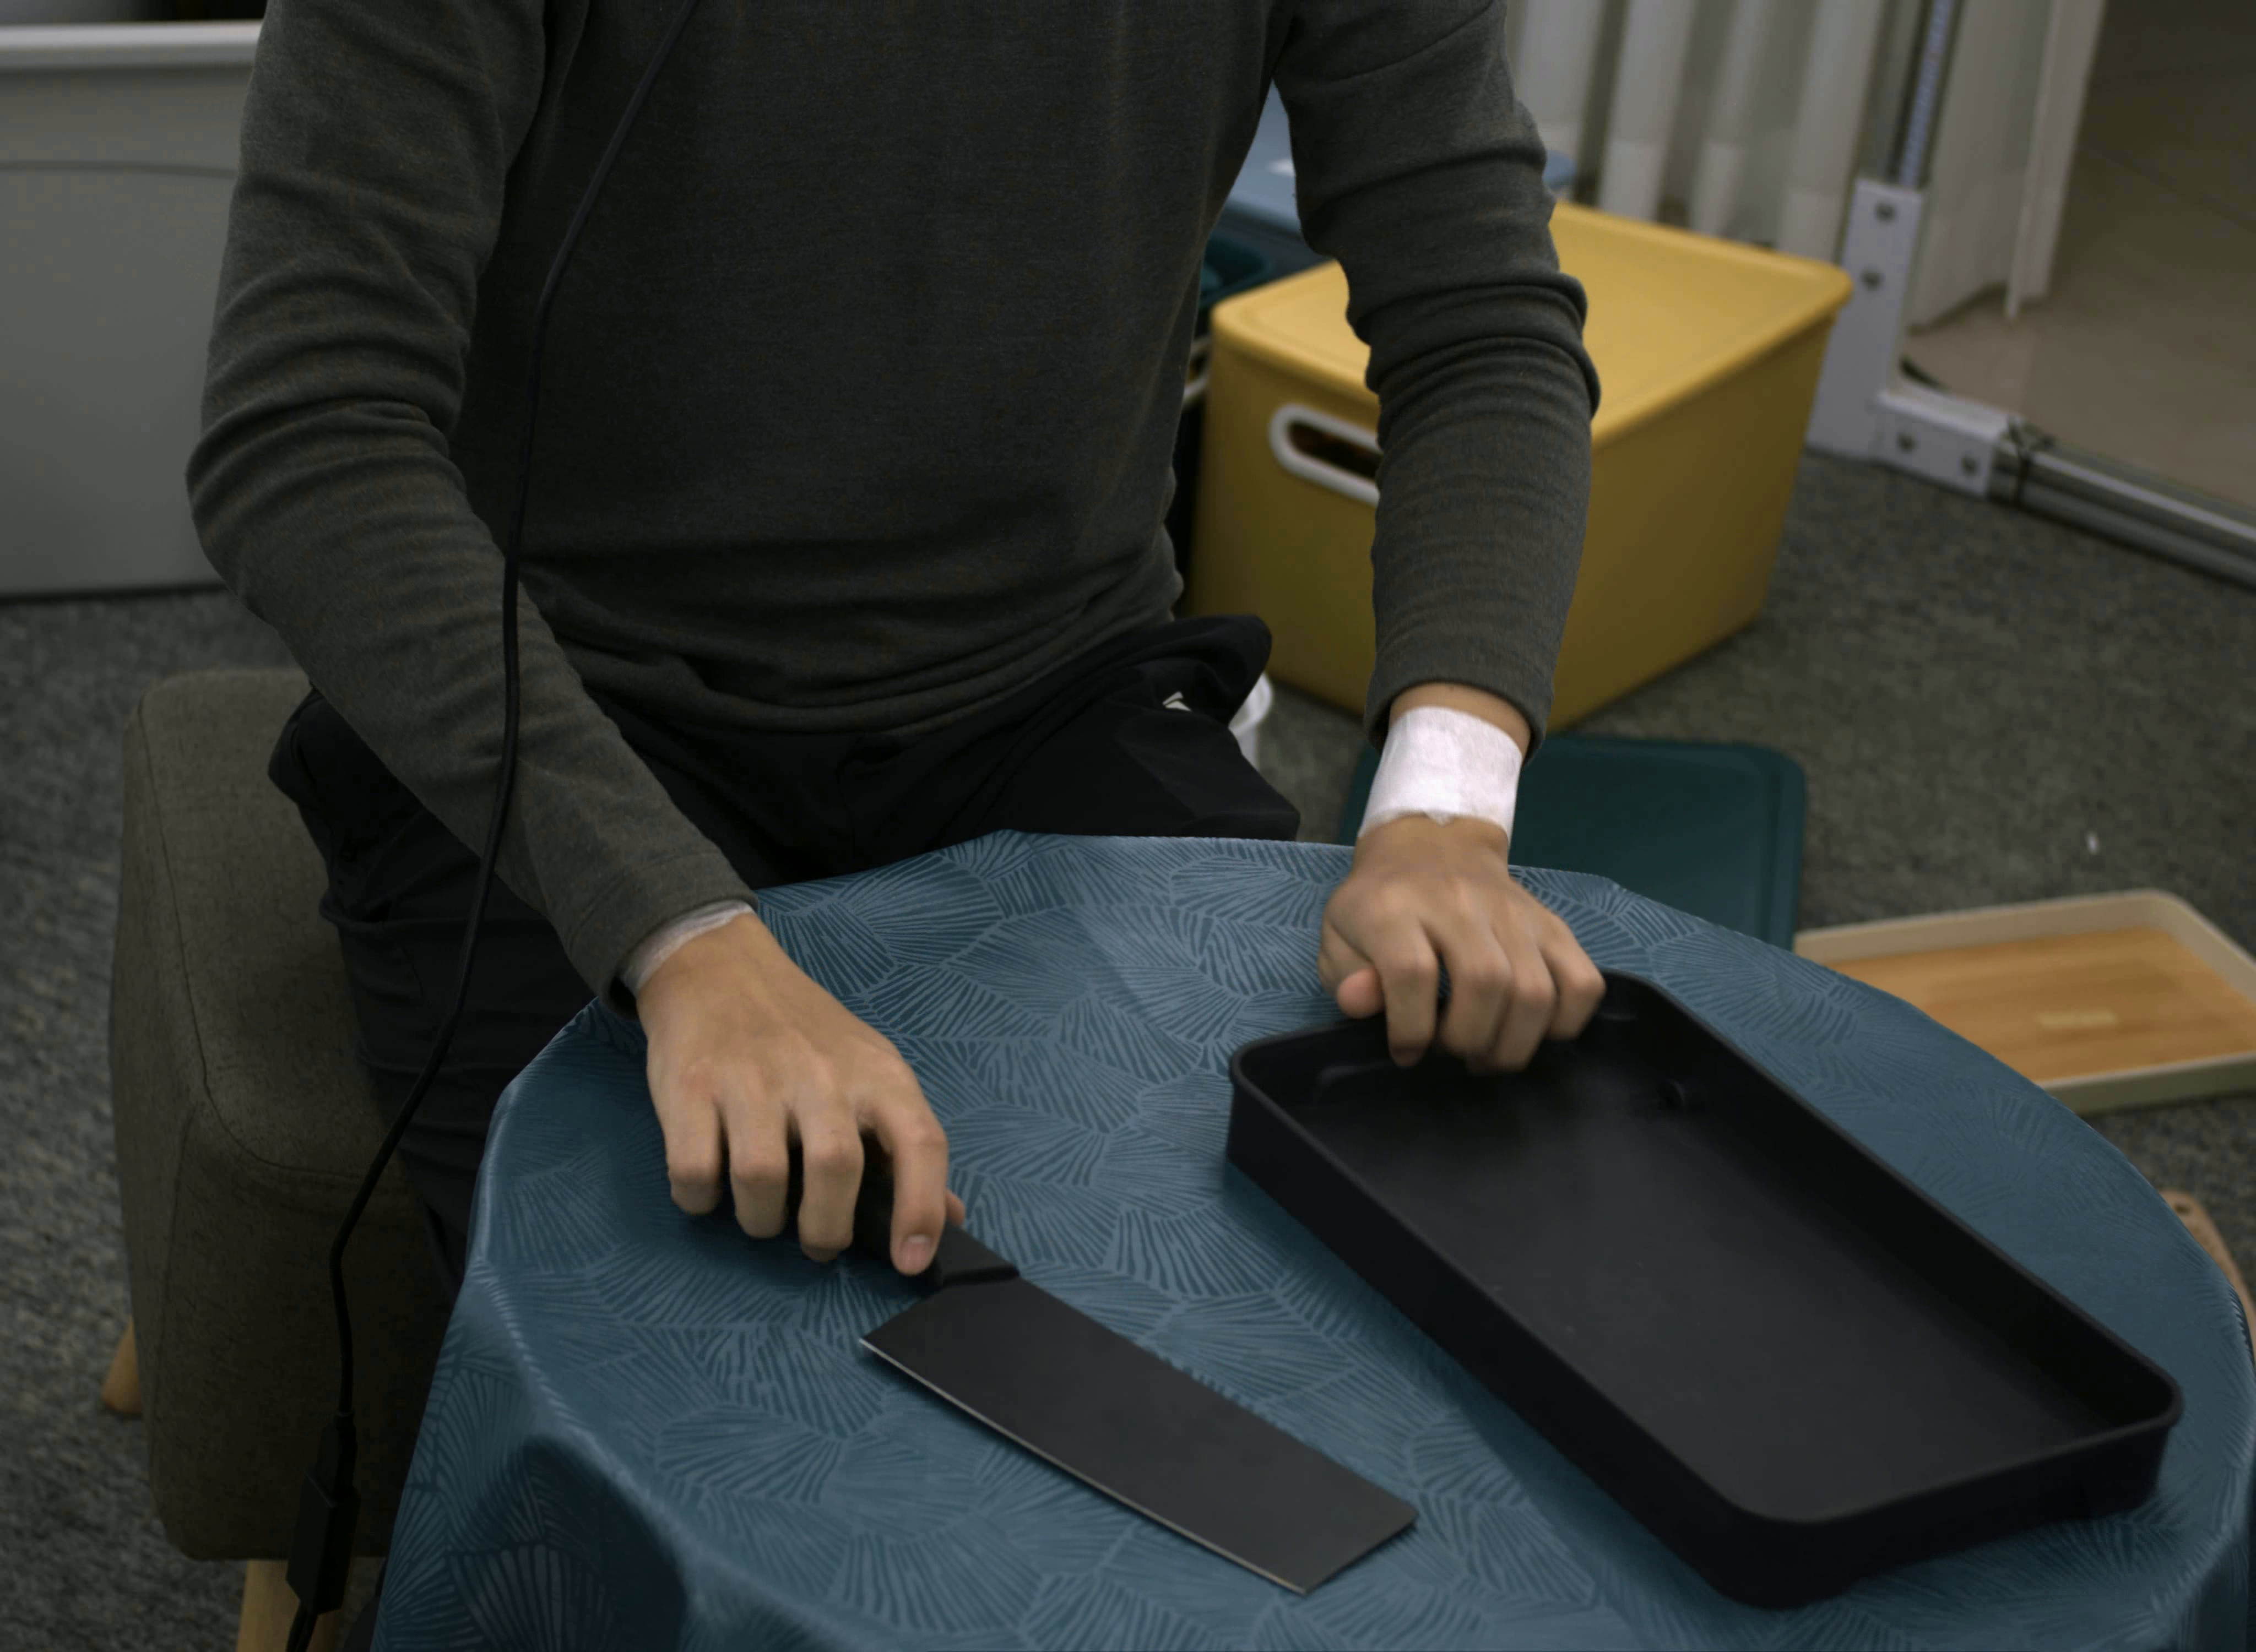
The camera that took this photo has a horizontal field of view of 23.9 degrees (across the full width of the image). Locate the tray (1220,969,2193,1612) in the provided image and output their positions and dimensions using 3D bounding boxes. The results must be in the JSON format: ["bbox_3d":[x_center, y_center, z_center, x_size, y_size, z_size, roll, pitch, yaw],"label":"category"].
[{"bbox_3d":[0.184,0.146,1.763,0.183,0.037,0.321,-11,31,-32],"label":"tray"}]

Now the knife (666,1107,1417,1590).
[{"bbox_3d":[-0.039,0.164,1.703,0.080,0.021,0.304,-21,39,-41],"label":"knife"}]
